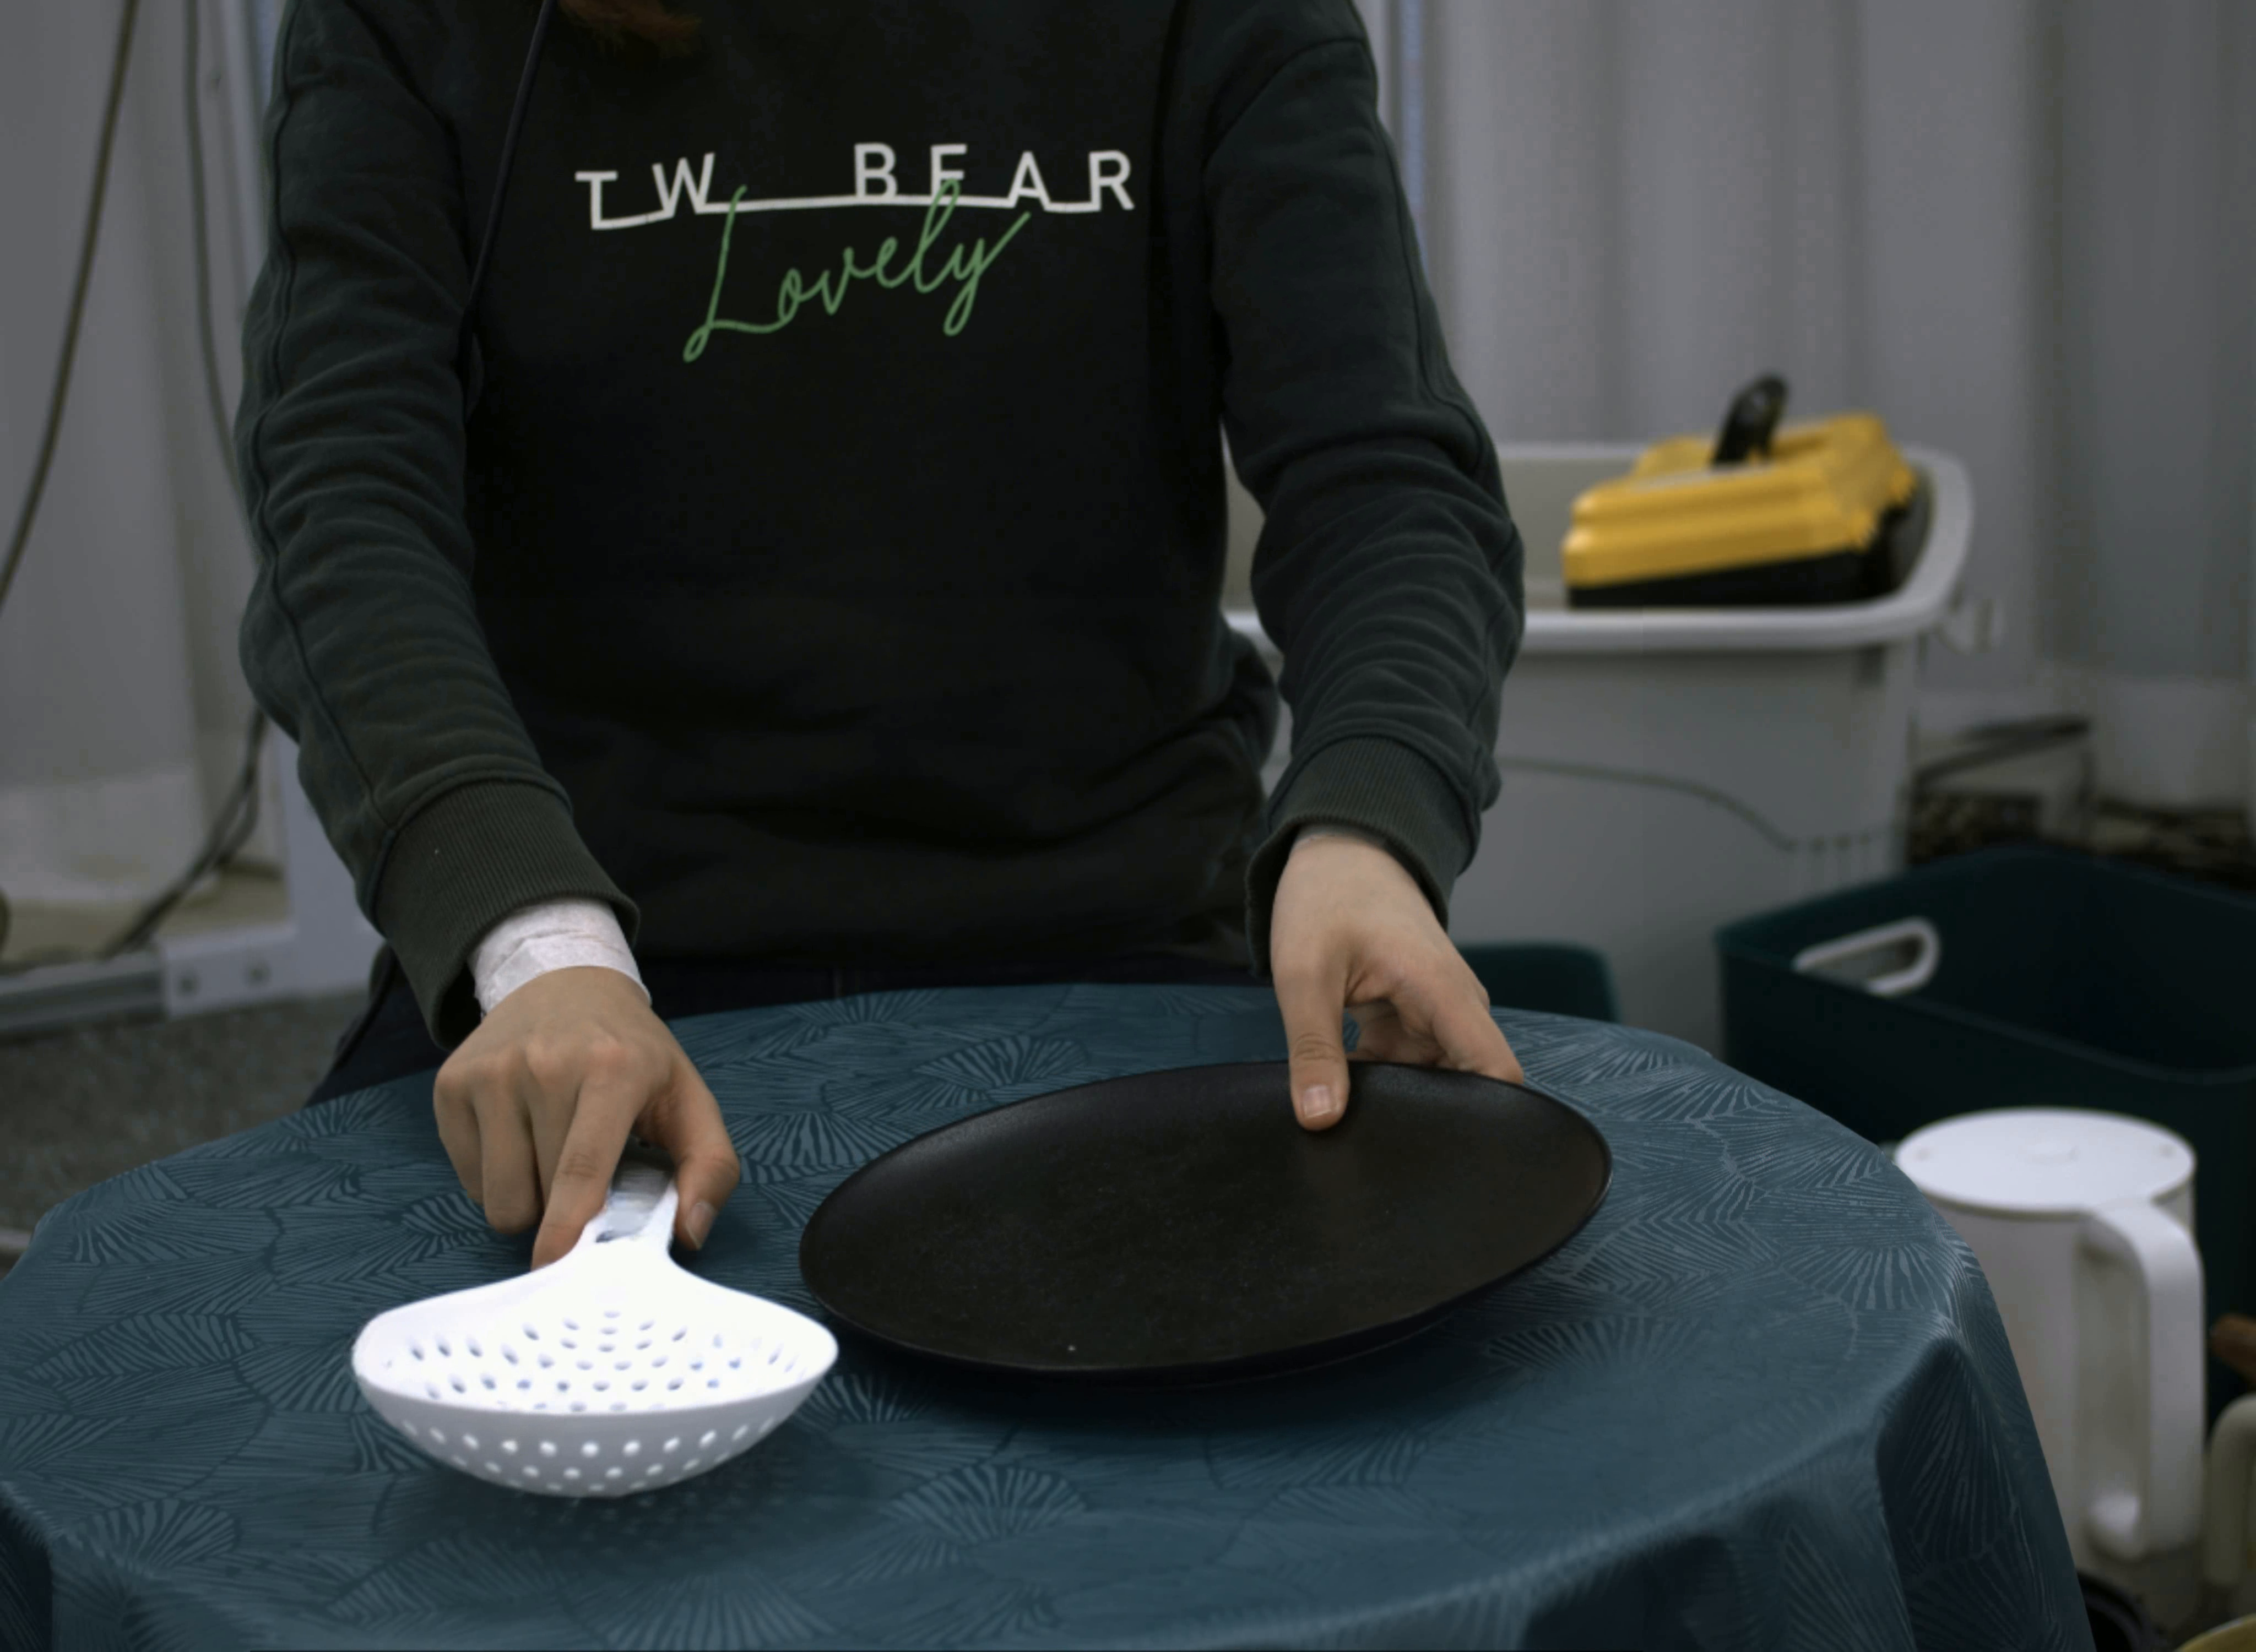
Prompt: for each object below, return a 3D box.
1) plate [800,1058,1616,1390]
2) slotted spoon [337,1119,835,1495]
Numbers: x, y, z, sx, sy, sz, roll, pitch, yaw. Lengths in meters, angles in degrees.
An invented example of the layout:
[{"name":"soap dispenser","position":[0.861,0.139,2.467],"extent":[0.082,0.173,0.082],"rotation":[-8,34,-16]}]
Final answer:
[{"name":"plate","position":[0.024,0.121,1.616],"extent":[0.243,0.023,0.246],"rotation":[-7,17,2]},{"name":"slotted spoon","position":[-0.149,0.131,1.595],"extent":[0.135,0.045,0.352],"rotation":[3,14,-1]}]
